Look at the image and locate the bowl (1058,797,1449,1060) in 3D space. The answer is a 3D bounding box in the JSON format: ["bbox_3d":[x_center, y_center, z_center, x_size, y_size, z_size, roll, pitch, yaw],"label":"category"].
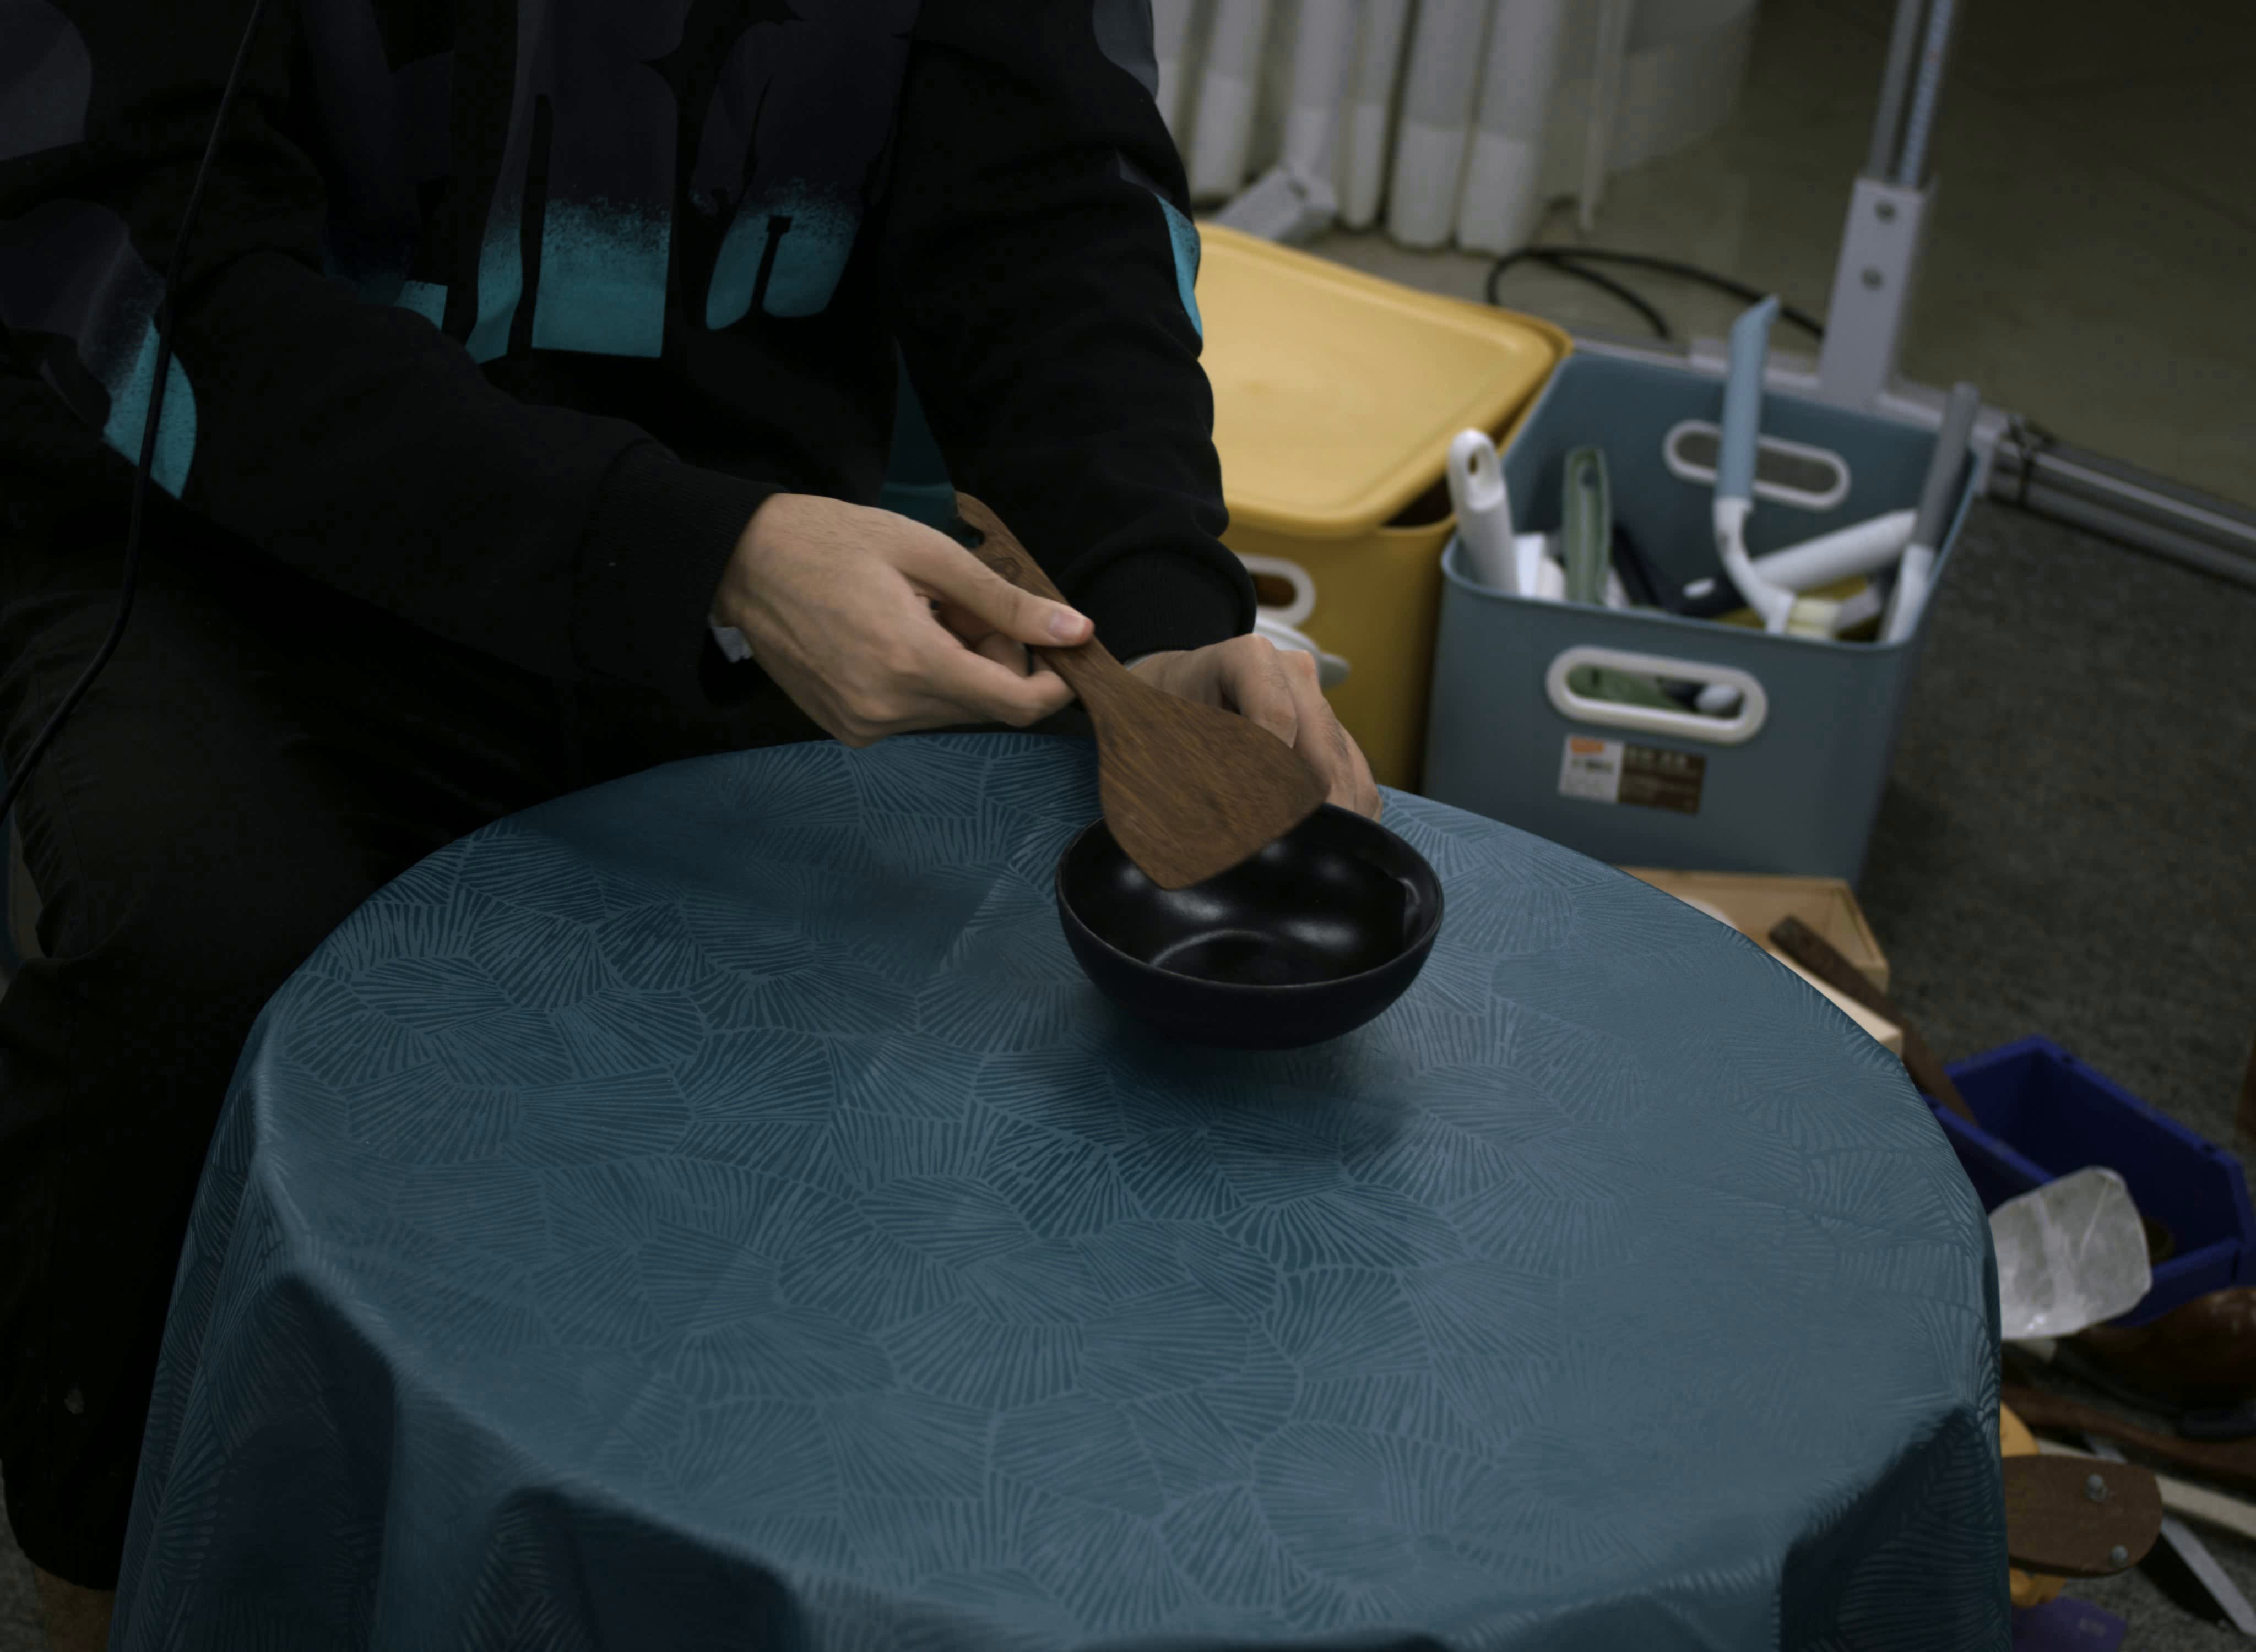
[{"bbox_3d":[0.044,0.043,1.892,0.139,0.049,0.141,0,31,-1],"label":"bowl"}]

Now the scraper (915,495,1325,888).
[{"bbox_3d":[-0.013,-0.054,1.909,0.075,0.011,0.213,-31,52,-15],"label":"scraper"}]
